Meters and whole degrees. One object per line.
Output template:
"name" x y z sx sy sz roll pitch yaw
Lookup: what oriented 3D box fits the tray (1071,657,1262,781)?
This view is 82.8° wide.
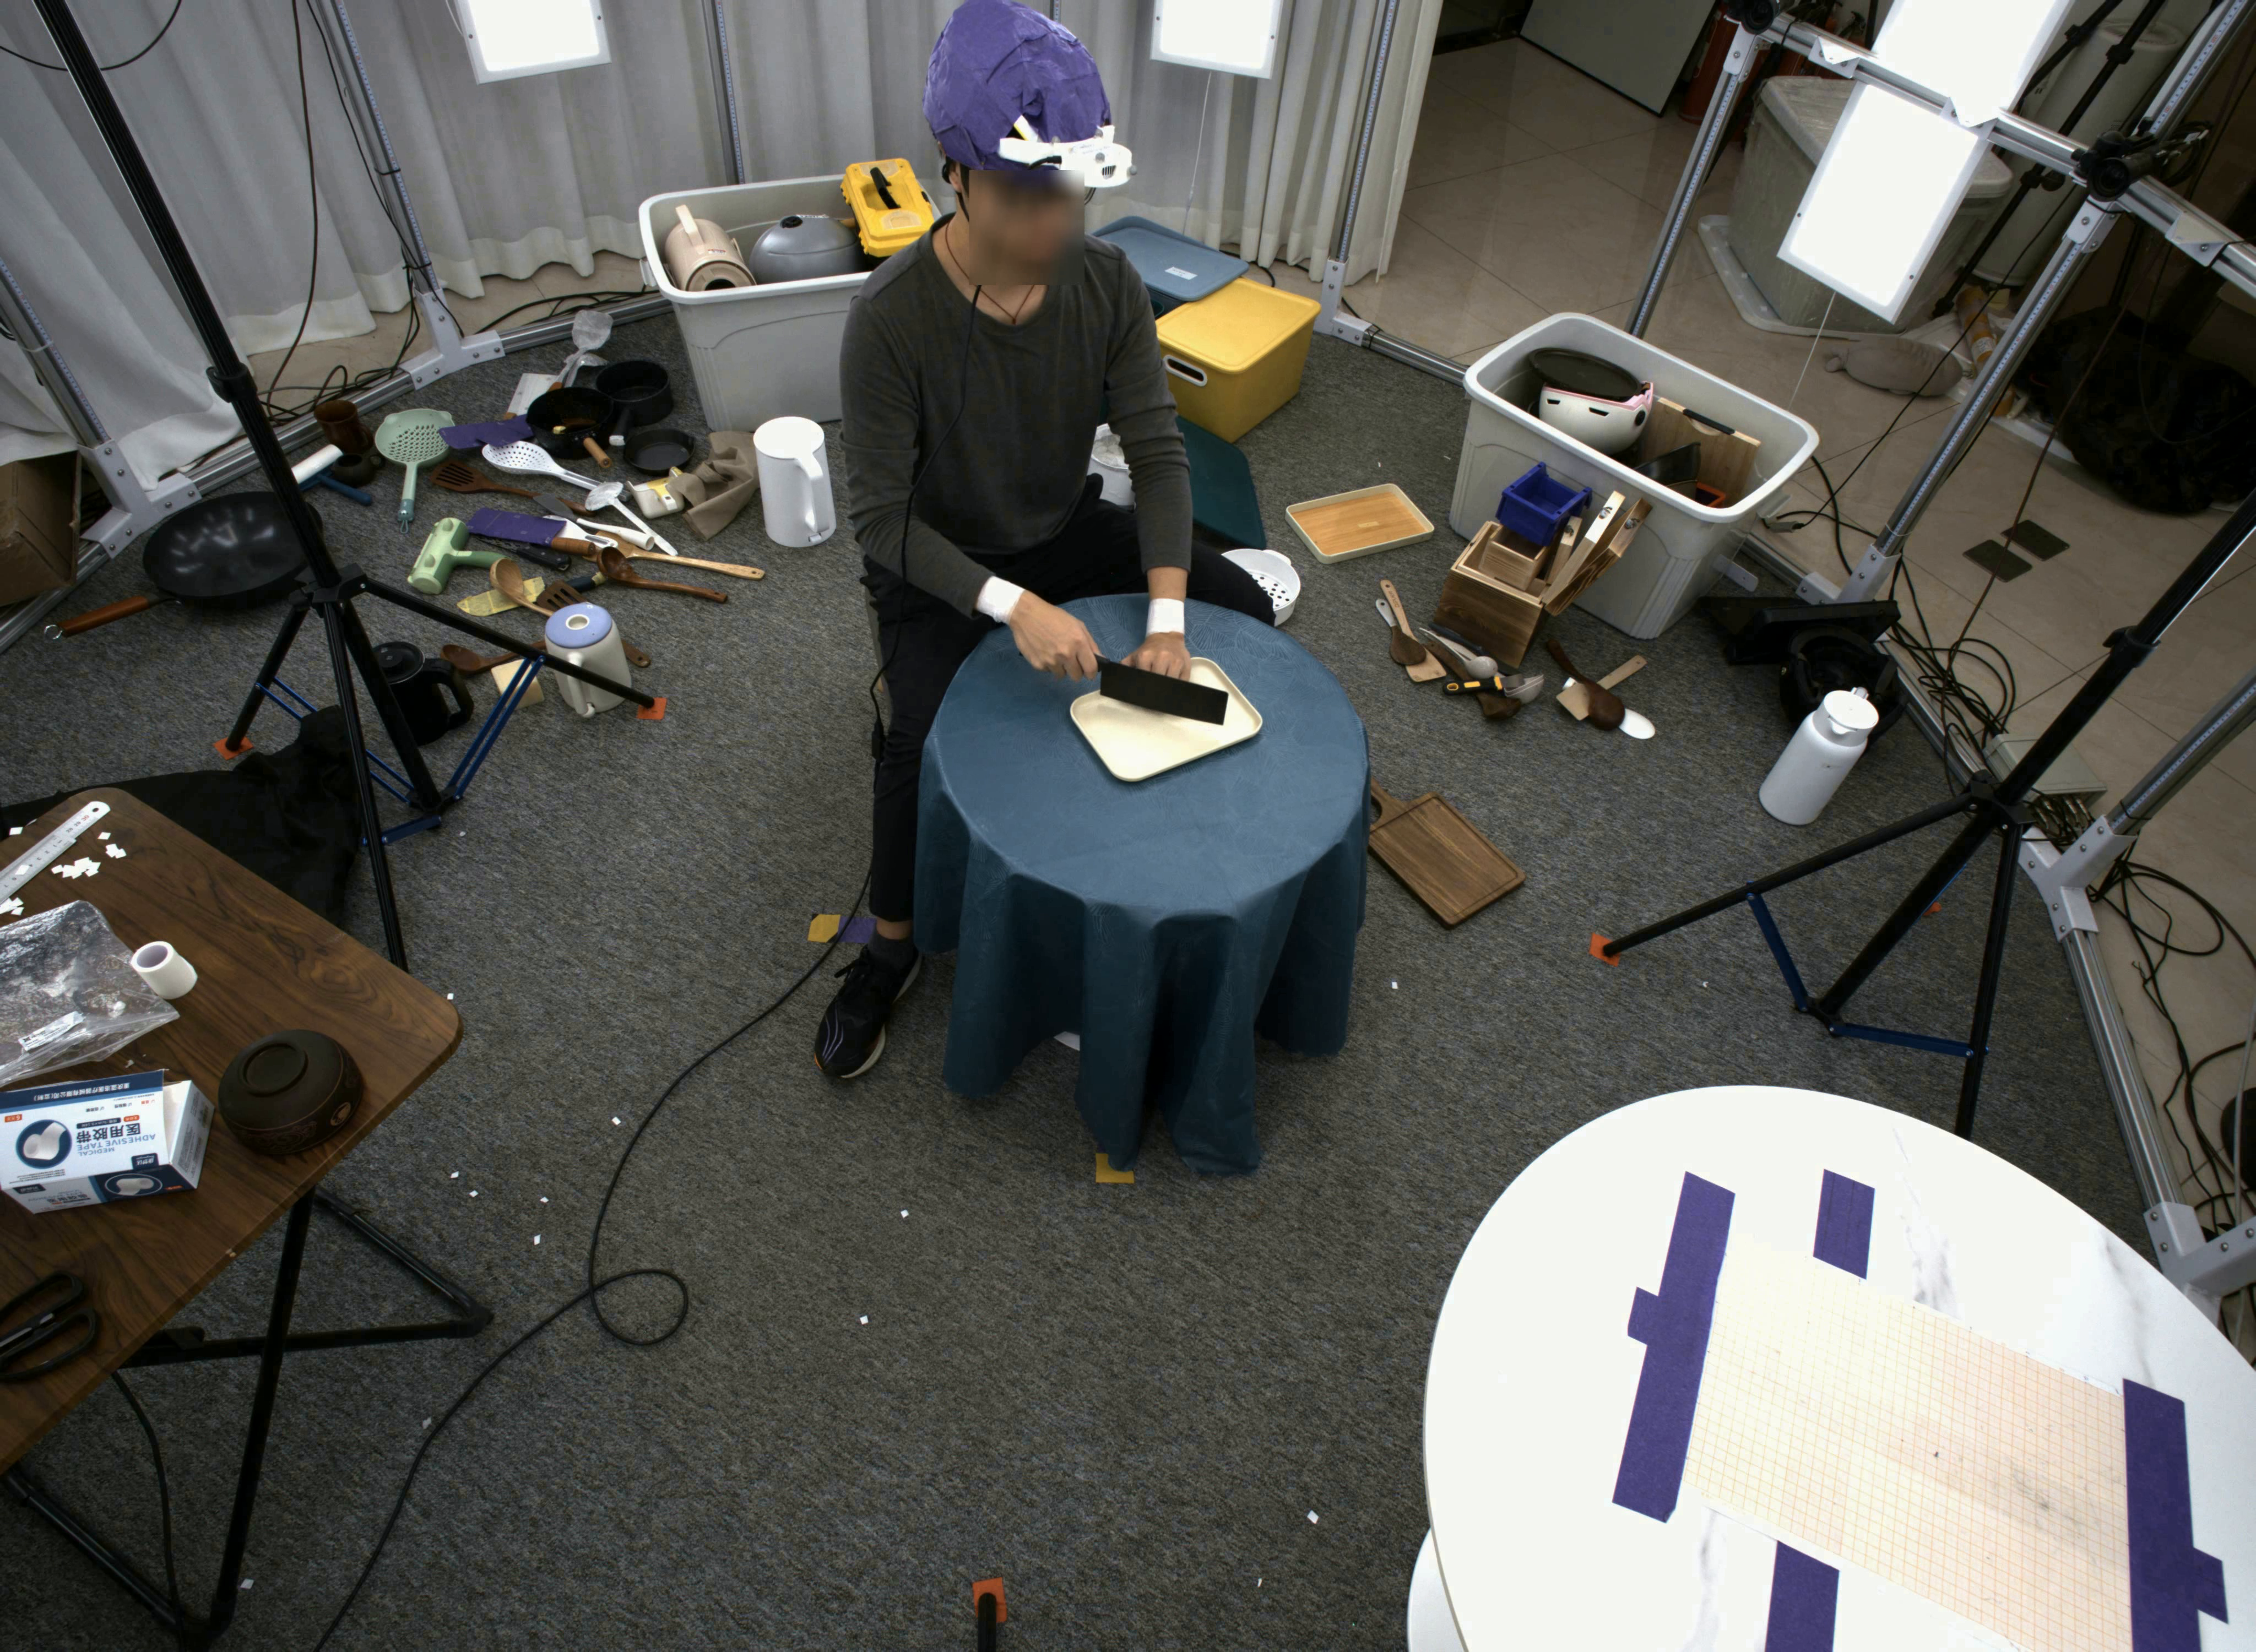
"tray" 0.054 -0.150 1.790 0.240 0.017 0.175 -22 53 -21

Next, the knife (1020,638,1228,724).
"knife" -0.008 -0.203 1.774 0.303 0.079 0.021 19 47 8
